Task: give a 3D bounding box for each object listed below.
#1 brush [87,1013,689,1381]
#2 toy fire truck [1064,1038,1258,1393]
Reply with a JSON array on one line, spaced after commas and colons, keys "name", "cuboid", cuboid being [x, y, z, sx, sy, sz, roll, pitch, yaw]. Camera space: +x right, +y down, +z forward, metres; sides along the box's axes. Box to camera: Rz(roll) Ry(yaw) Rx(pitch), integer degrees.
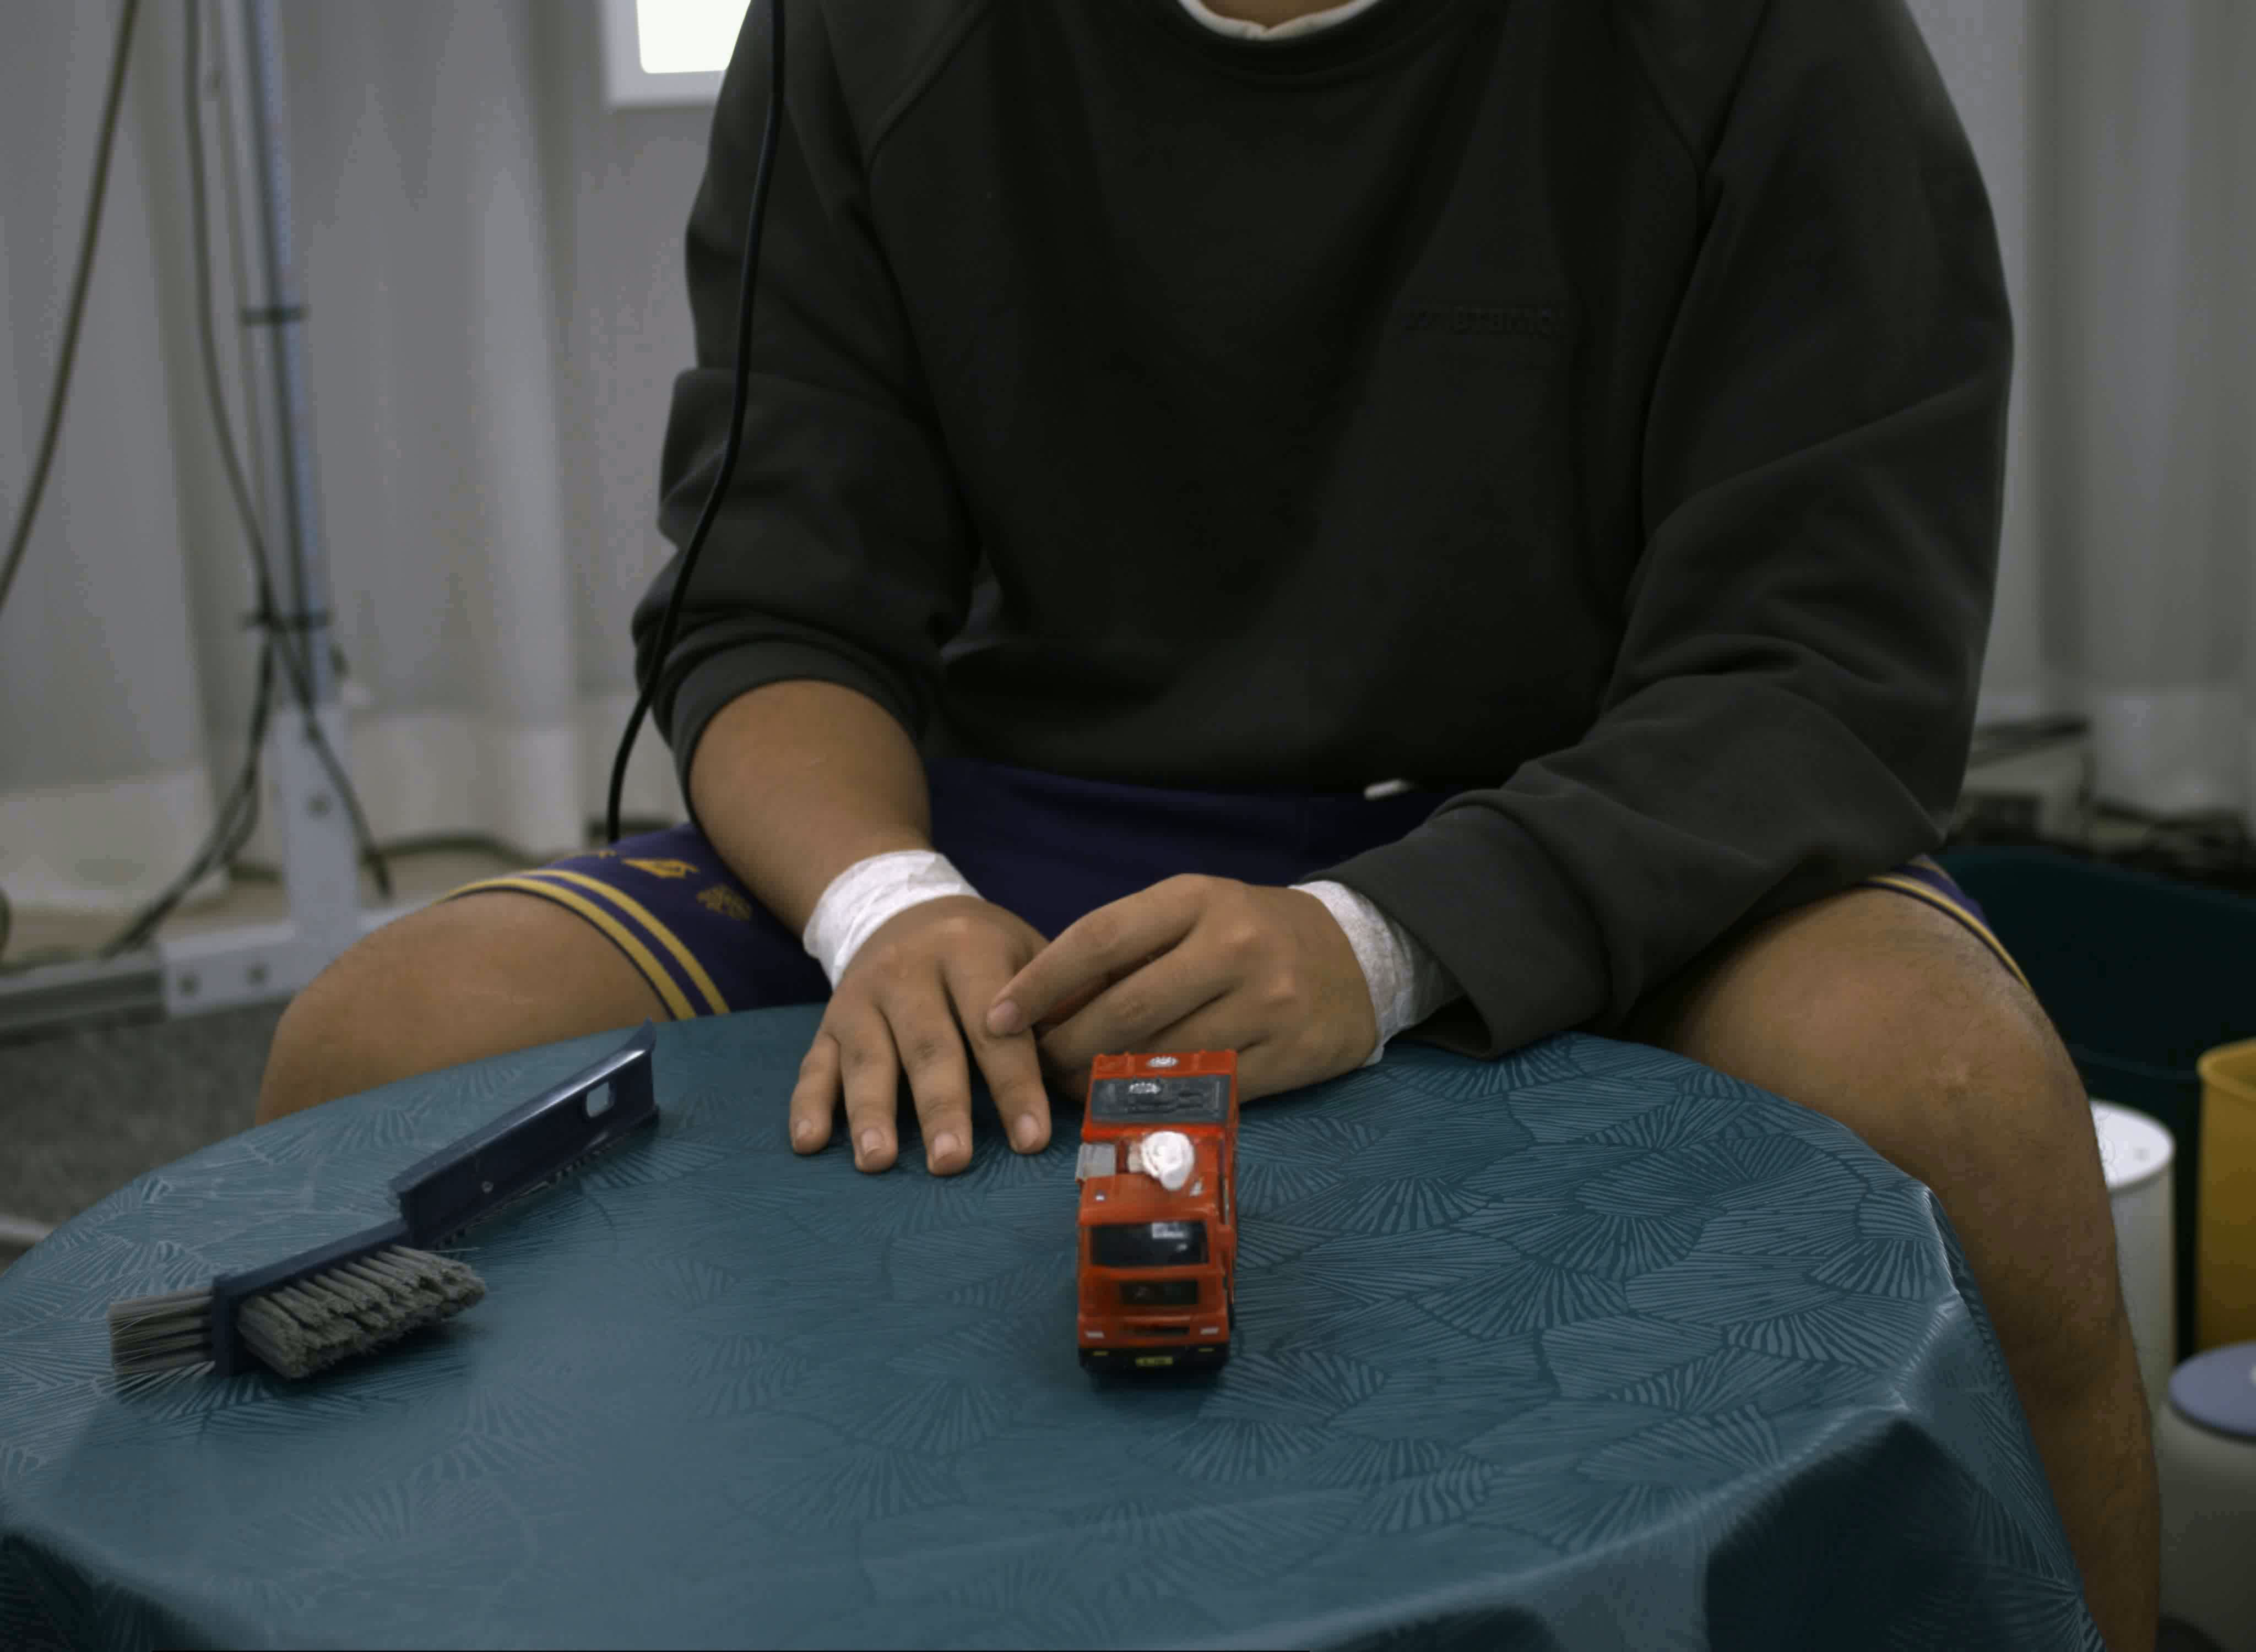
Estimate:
[{"name": "brush", "cuboid": [-0.218, 0.114, 1.701, 0.096, 0.033, 0.274, 1, 16, 18]}, {"name": "toy fire truck", "cuboid": [0.010, 0.112, 1.611, 0.054, 0.070, 0.169, -3, 14, 2]}]
